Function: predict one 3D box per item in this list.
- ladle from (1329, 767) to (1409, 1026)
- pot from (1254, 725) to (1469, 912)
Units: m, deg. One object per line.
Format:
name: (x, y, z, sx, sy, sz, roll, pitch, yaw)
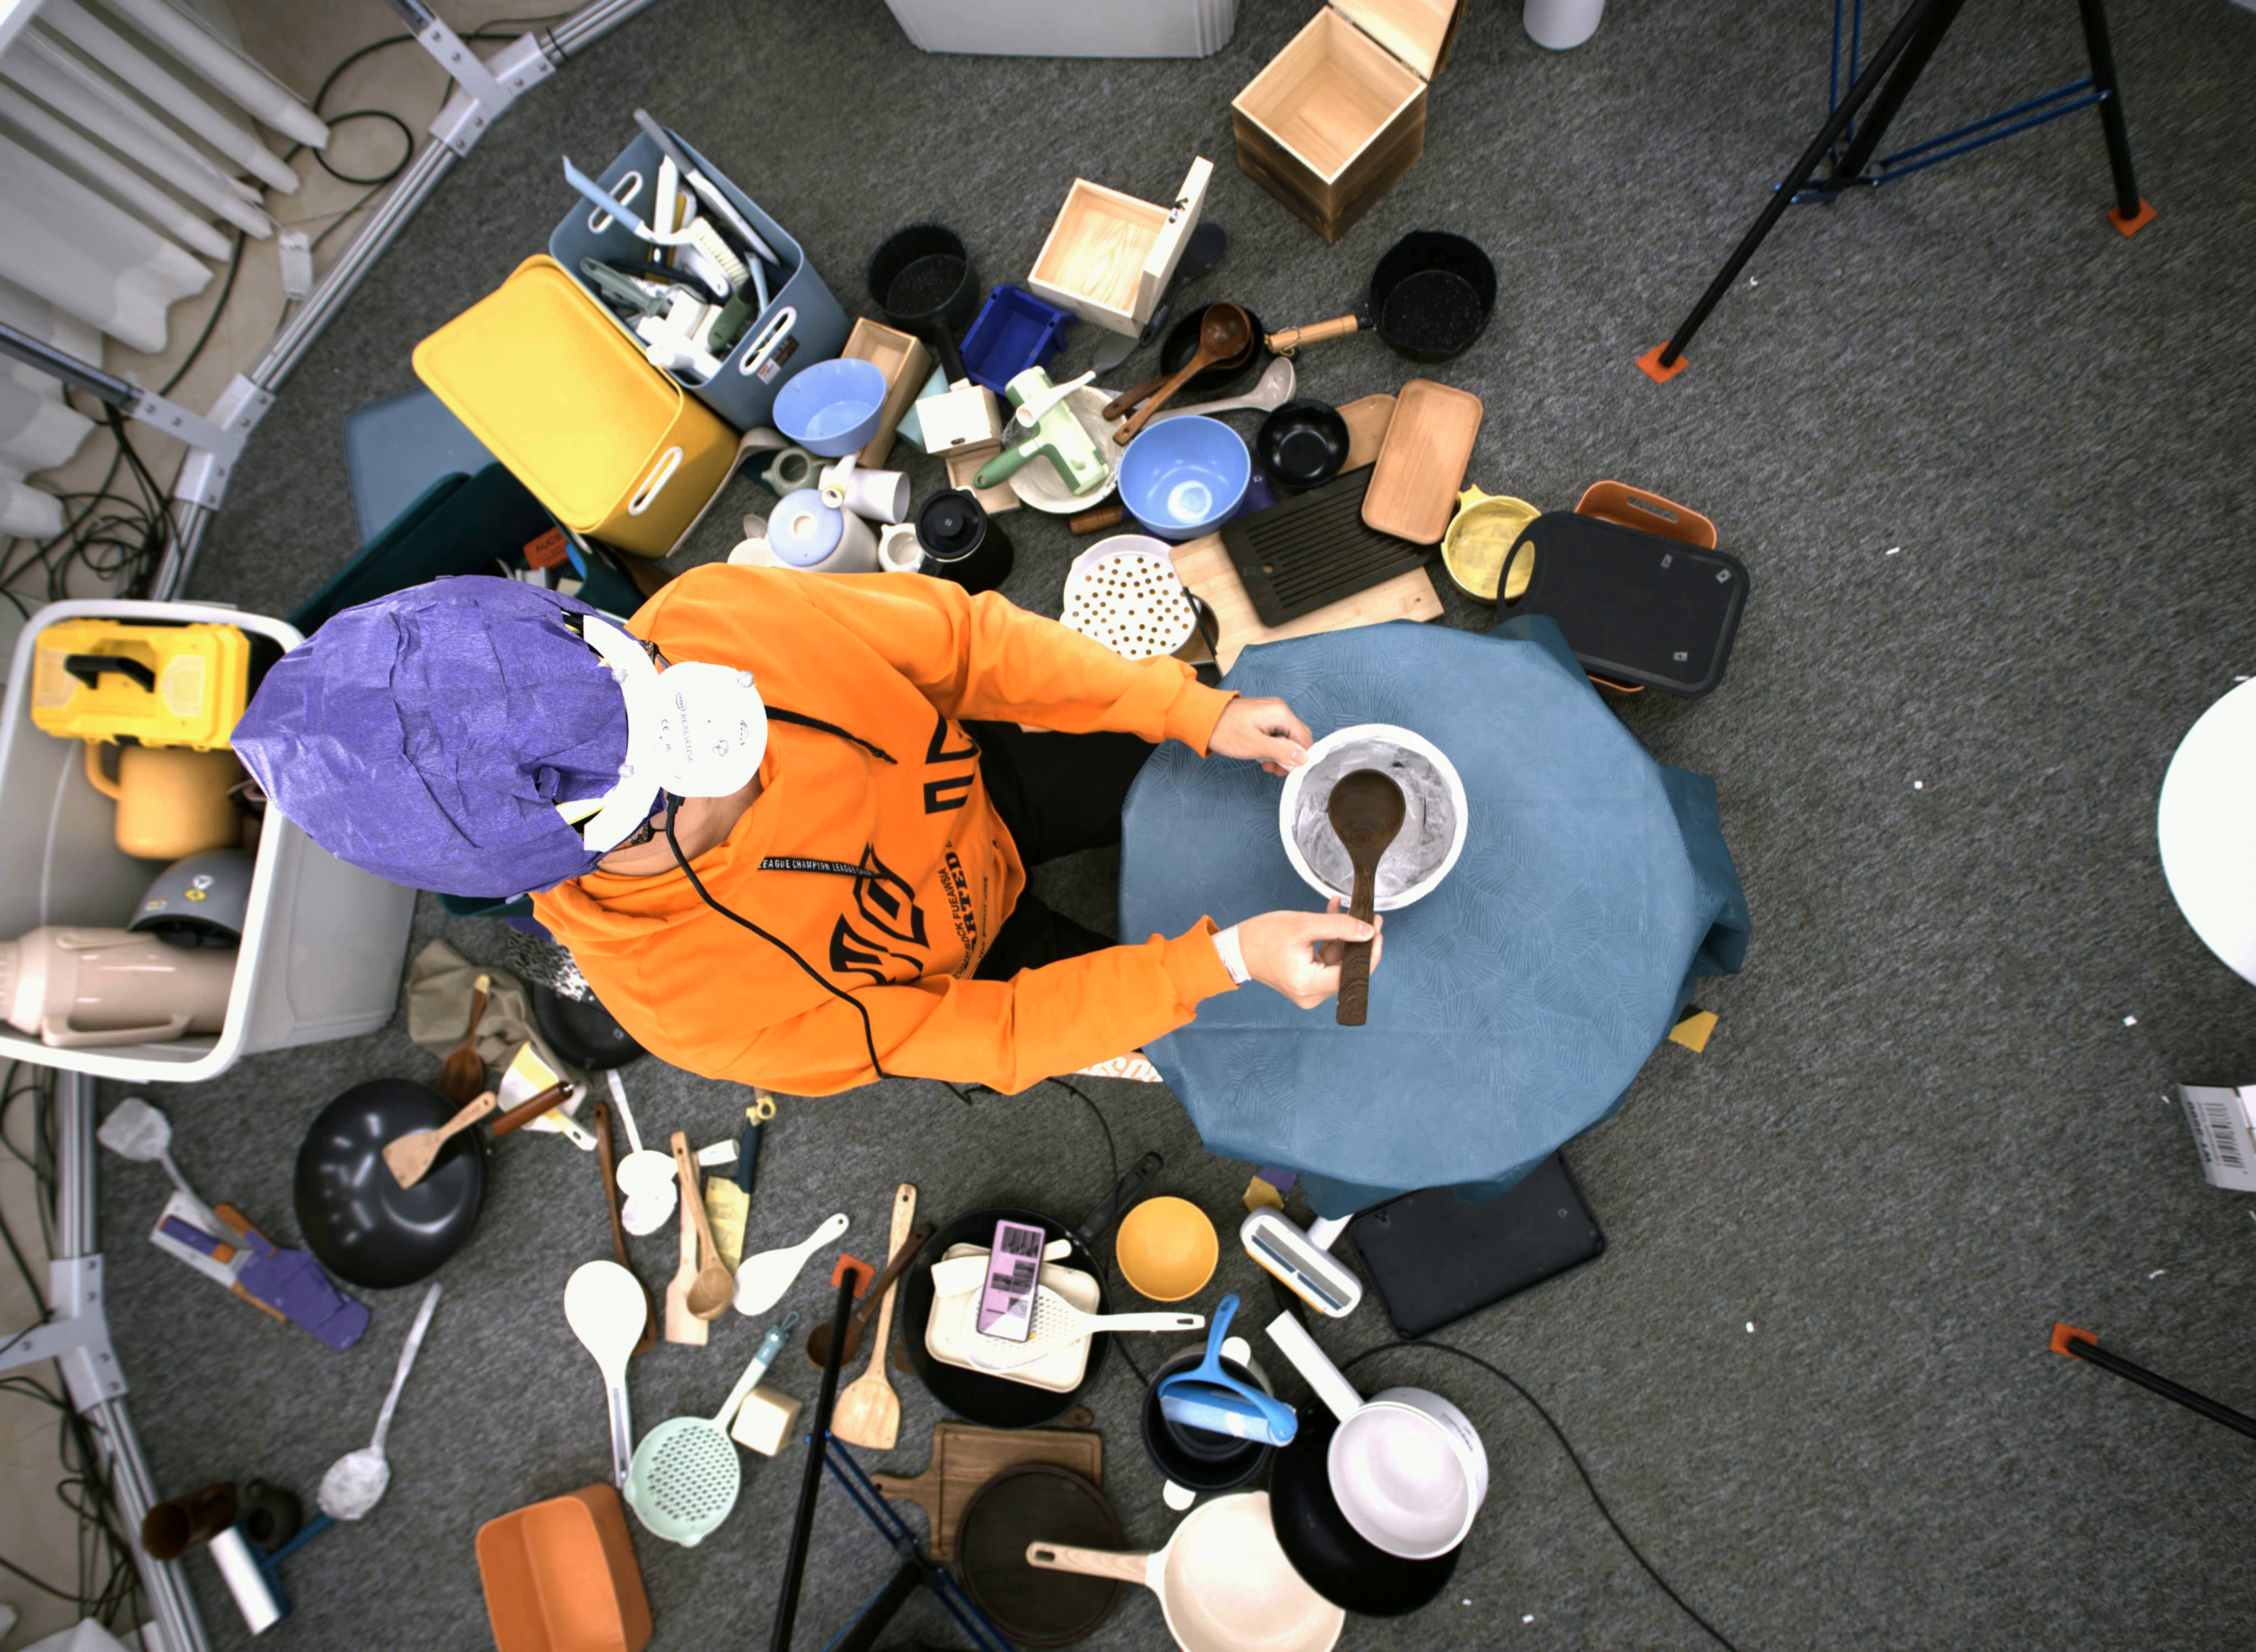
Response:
ladle: (0.210, 0.053, 1.242, 0.076, 0.073, 0.266, -1, 42, 16)
pot: (0.221, -0.021, 1.372, 0.233, 0.136, 0.179, 36, 94, 10)
